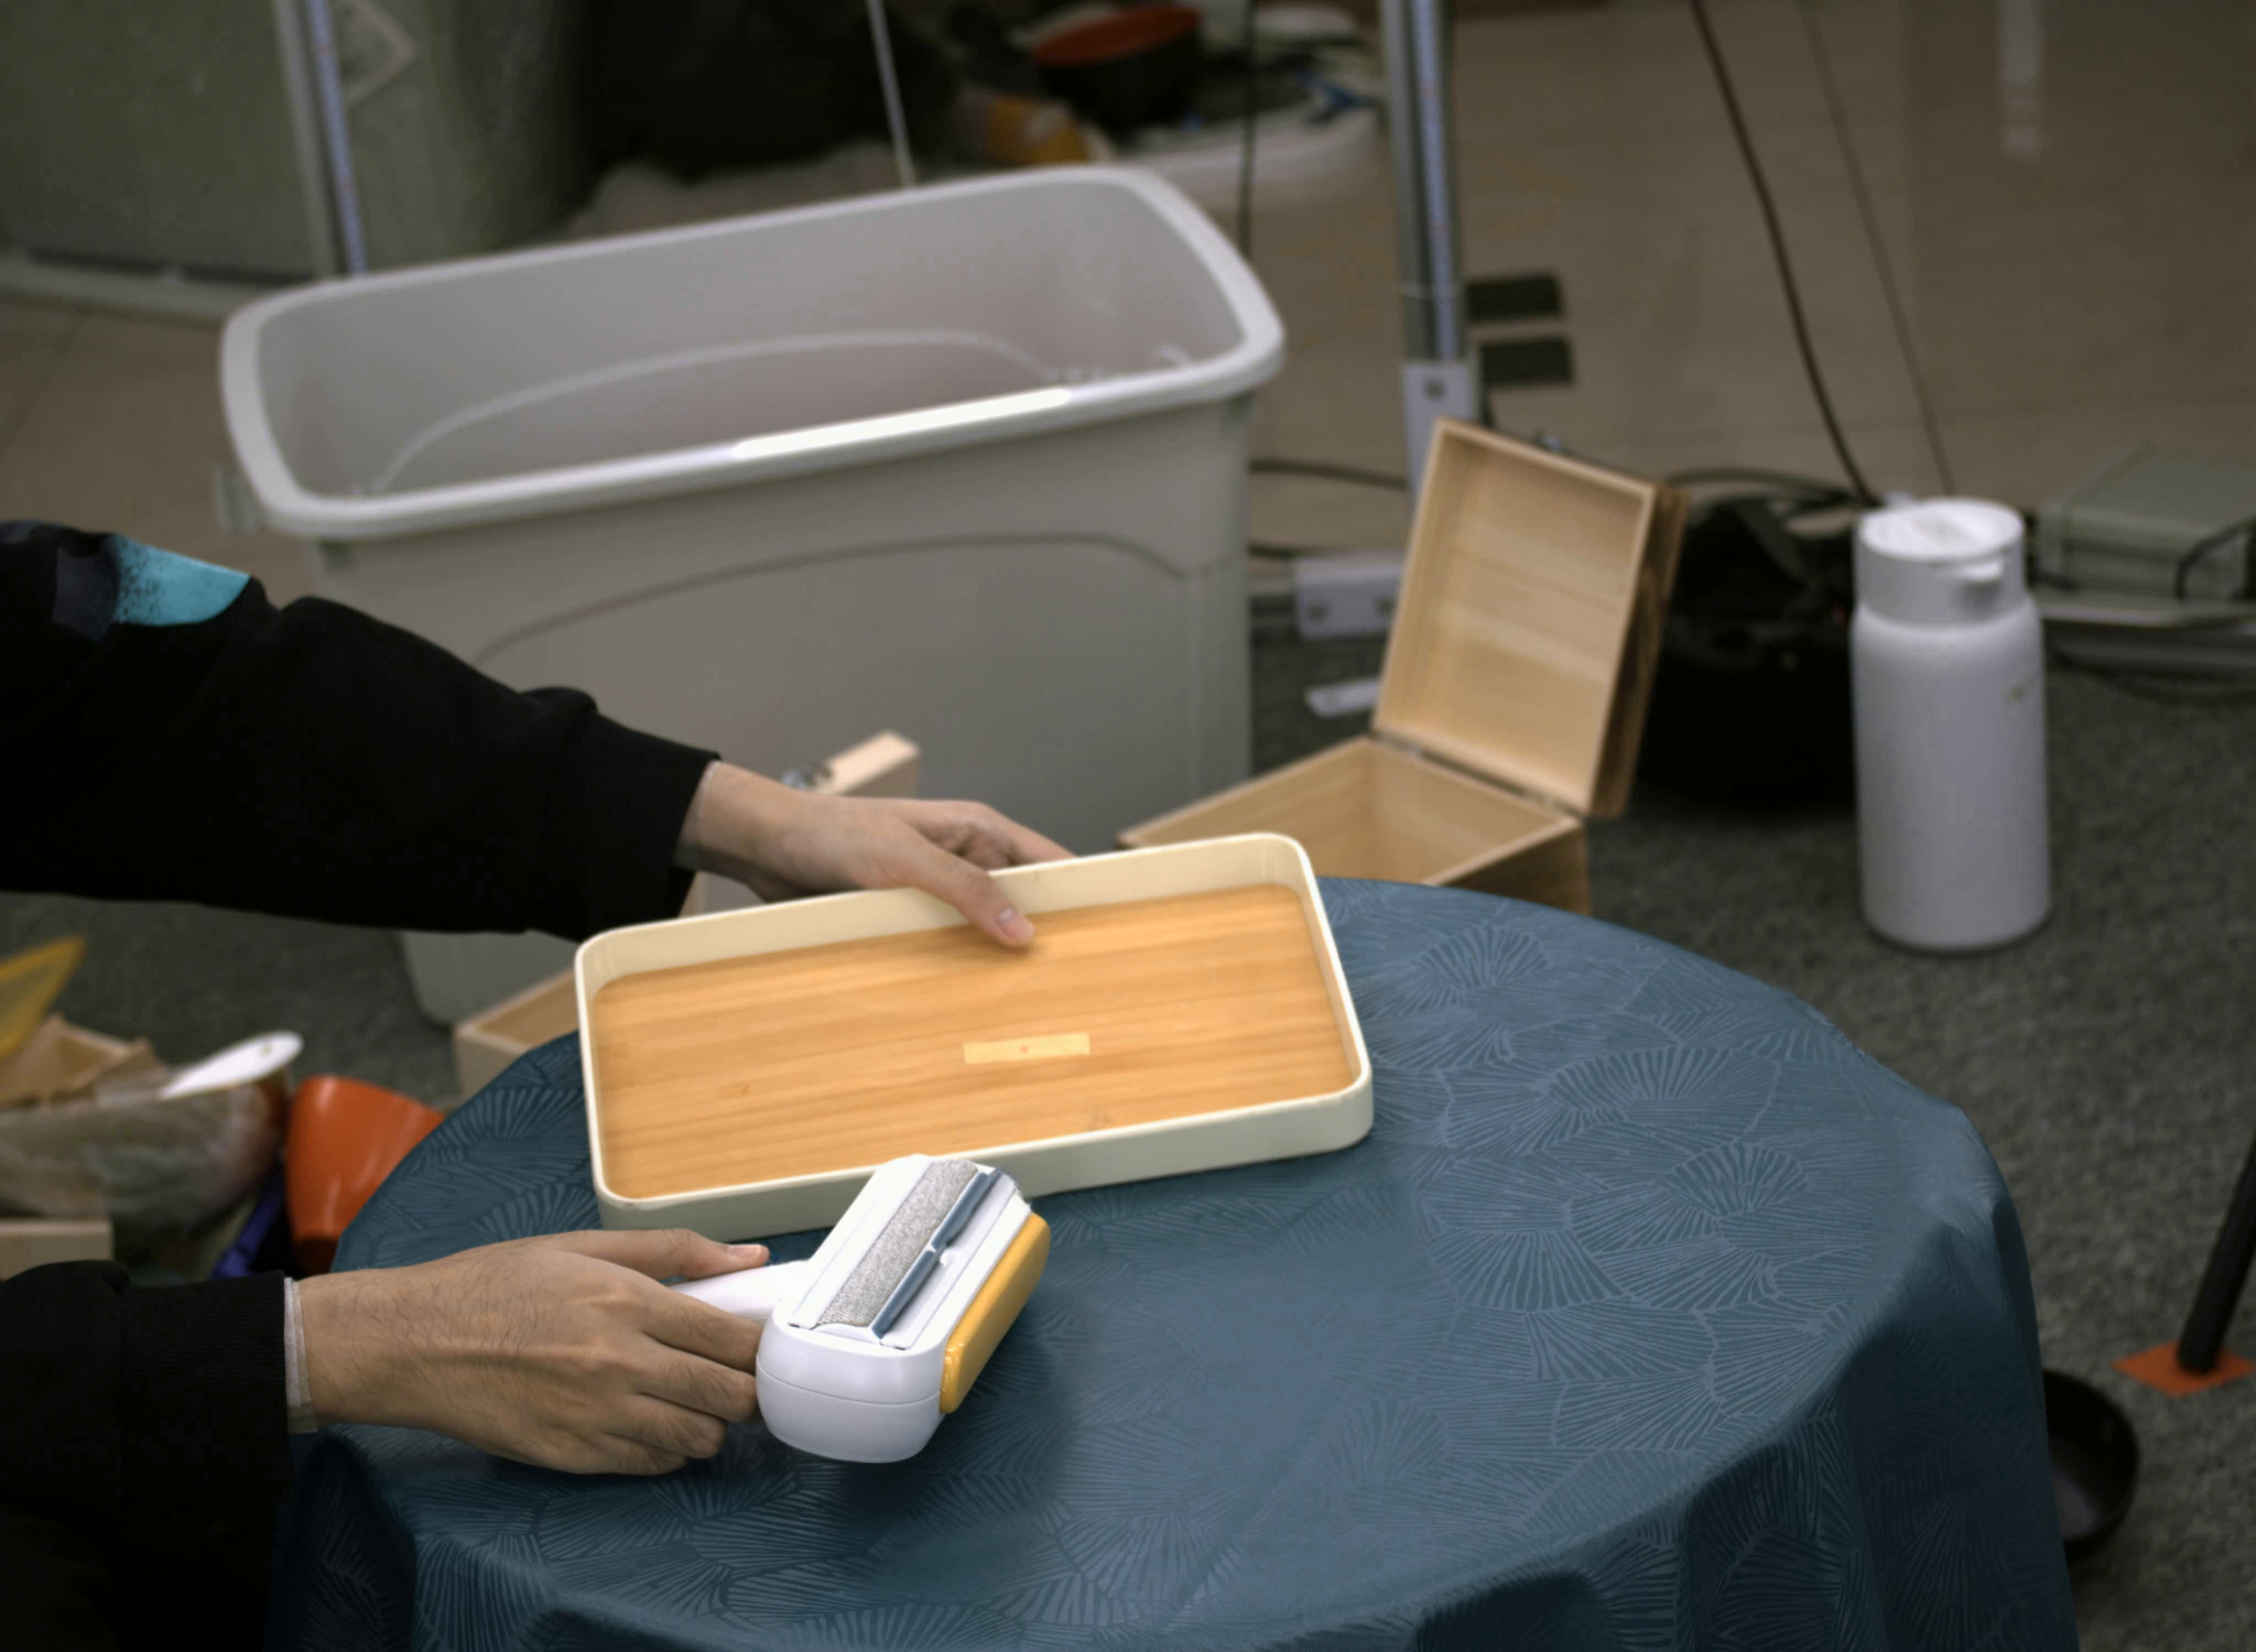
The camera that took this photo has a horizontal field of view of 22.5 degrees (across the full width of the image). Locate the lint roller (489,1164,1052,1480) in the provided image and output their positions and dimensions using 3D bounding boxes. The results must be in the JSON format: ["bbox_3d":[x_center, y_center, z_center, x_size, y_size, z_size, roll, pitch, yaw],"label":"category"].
[{"bbox_3d":[-0.137,0.174,2.013,0.192,0.075,0.190,4,22,15],"label":"lint roller"}]

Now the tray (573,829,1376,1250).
[{"bbox_3d":[-0.063,0.081,2.217,0.300,0.028,0.188,-9,33,-4],"label":"tray"}]
